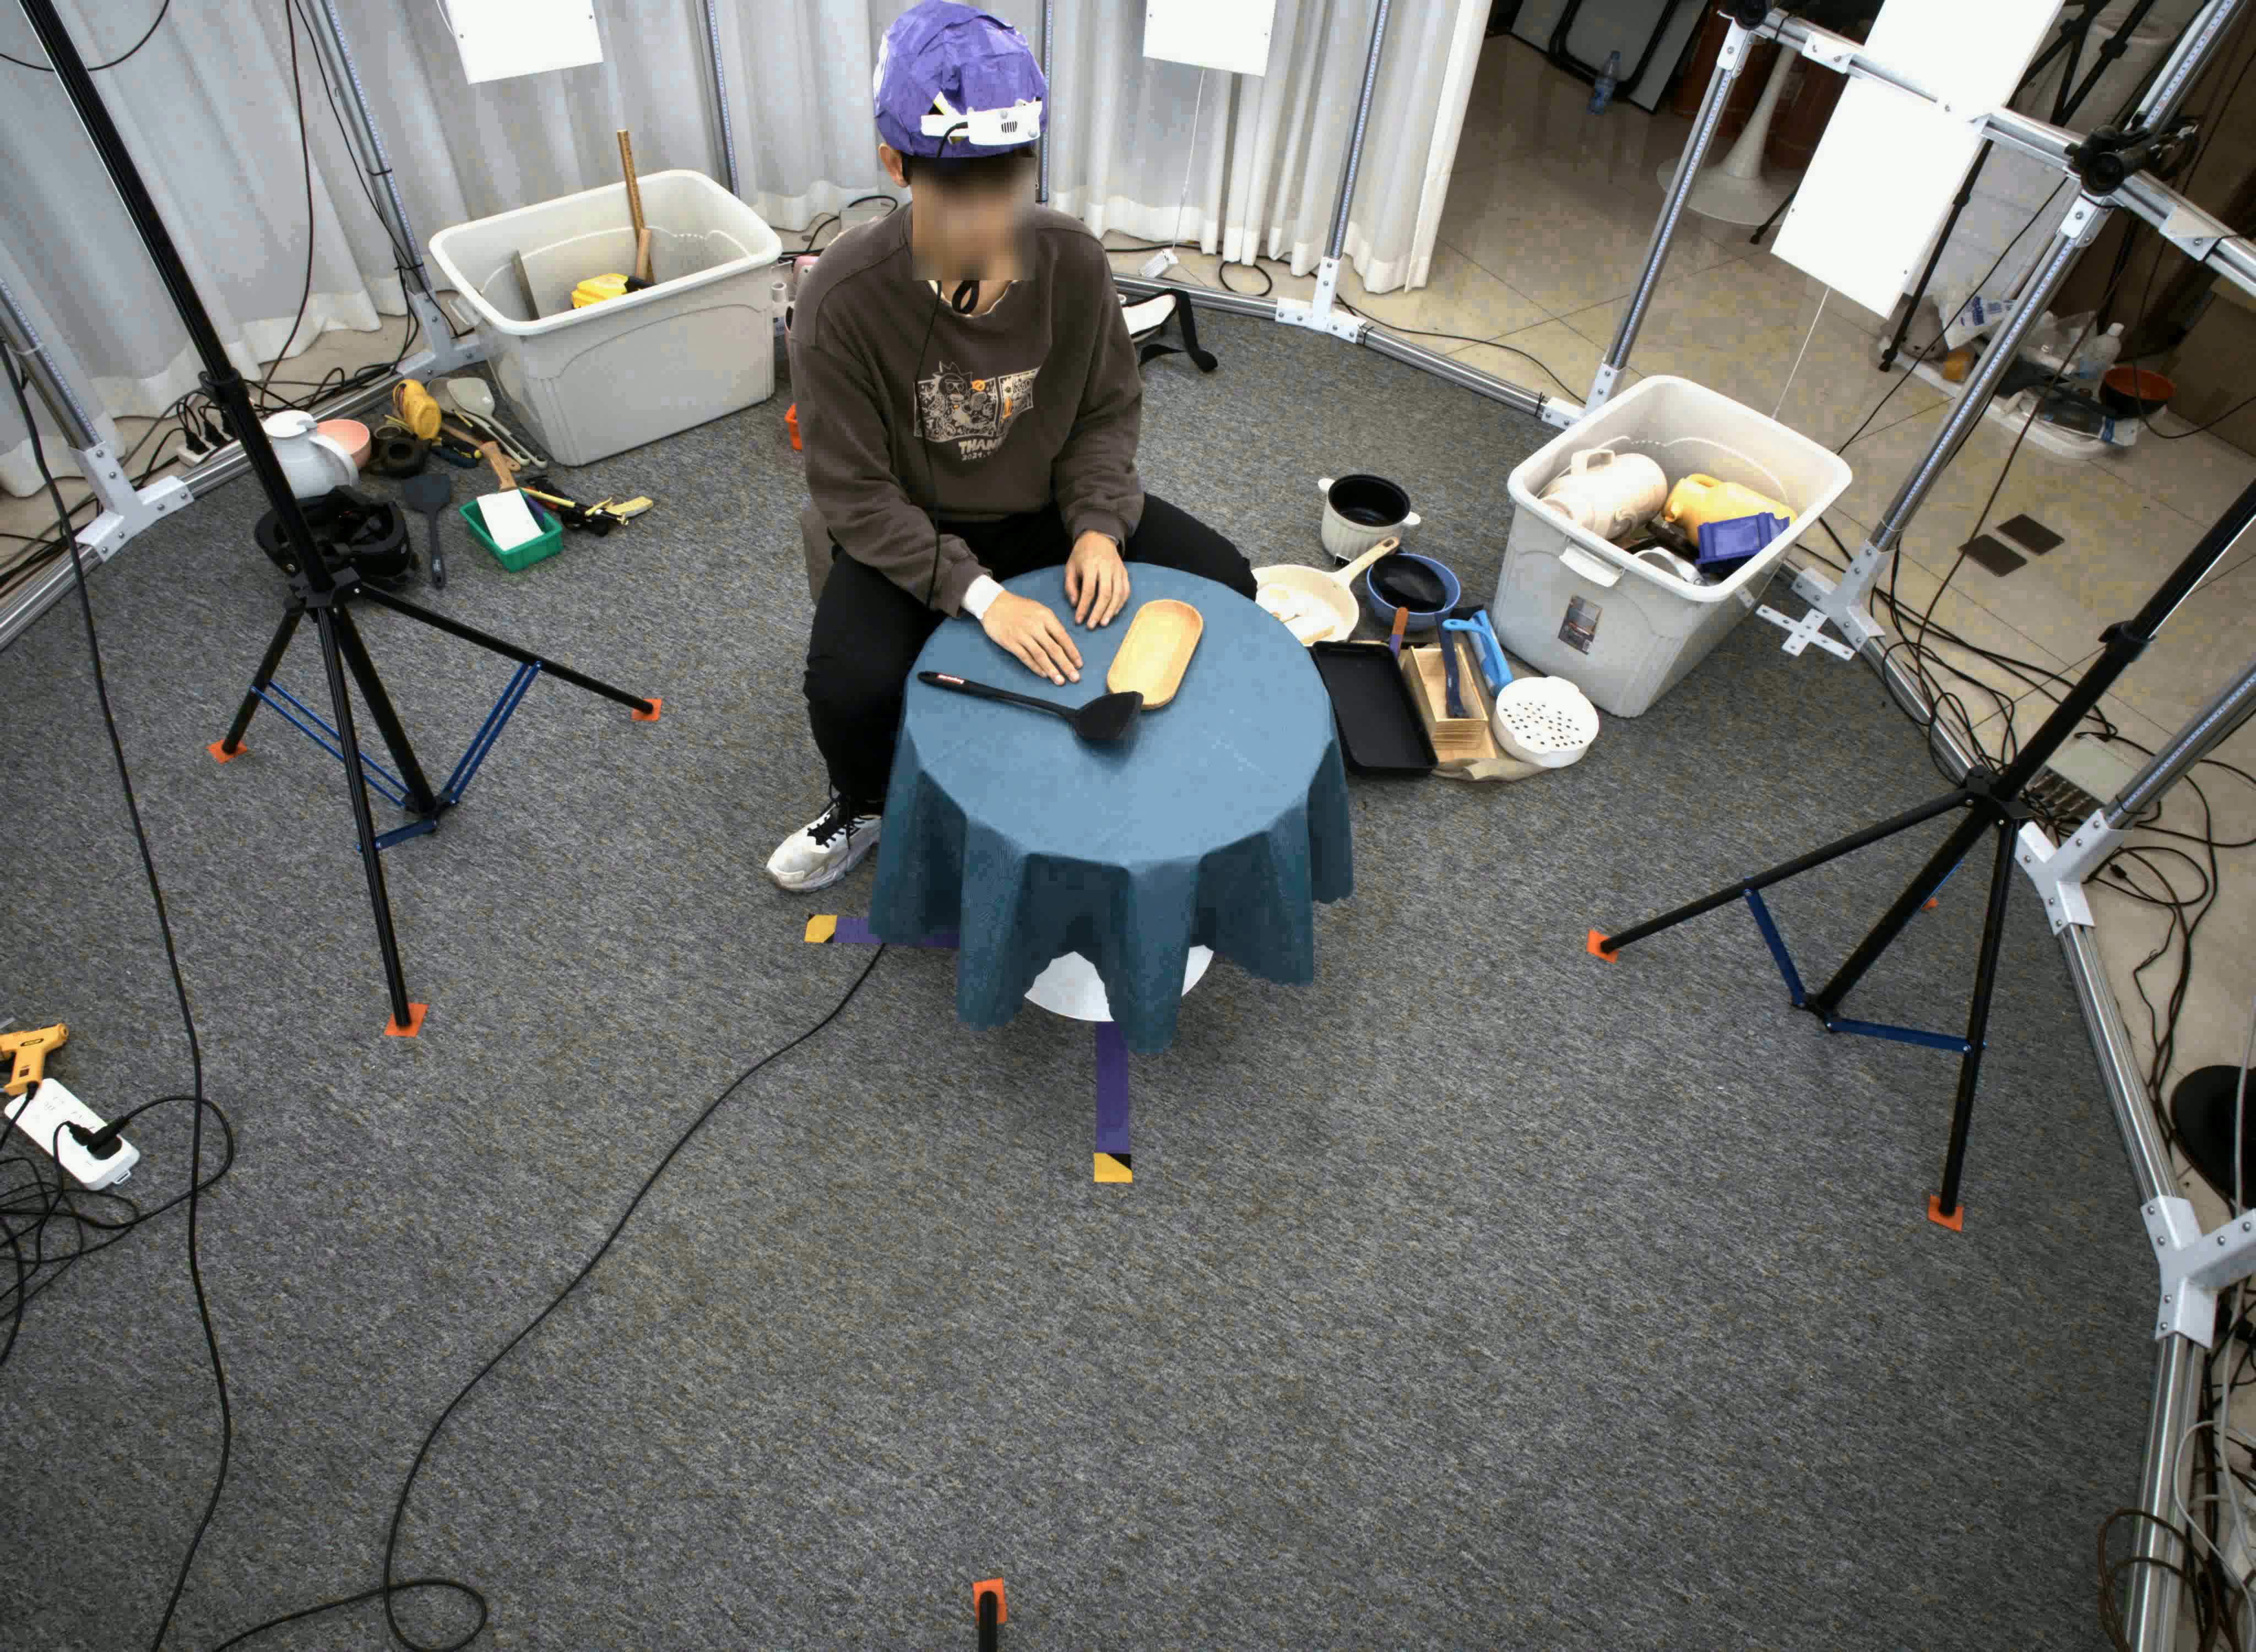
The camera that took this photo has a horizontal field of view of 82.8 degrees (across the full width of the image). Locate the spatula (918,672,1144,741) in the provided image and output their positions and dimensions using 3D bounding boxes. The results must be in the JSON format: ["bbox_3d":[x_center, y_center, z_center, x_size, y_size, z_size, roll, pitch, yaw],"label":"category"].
[{"bbox_3d":[-0.142,-0.180,1.790,0.327,0.039,0.102,16,48,10],"label":"spatula"}]

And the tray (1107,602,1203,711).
[{"bbox_3d":[0.041,-0.249,1.875,0.102,0.020,0.236,15,51,10],"label":"tray"}]
